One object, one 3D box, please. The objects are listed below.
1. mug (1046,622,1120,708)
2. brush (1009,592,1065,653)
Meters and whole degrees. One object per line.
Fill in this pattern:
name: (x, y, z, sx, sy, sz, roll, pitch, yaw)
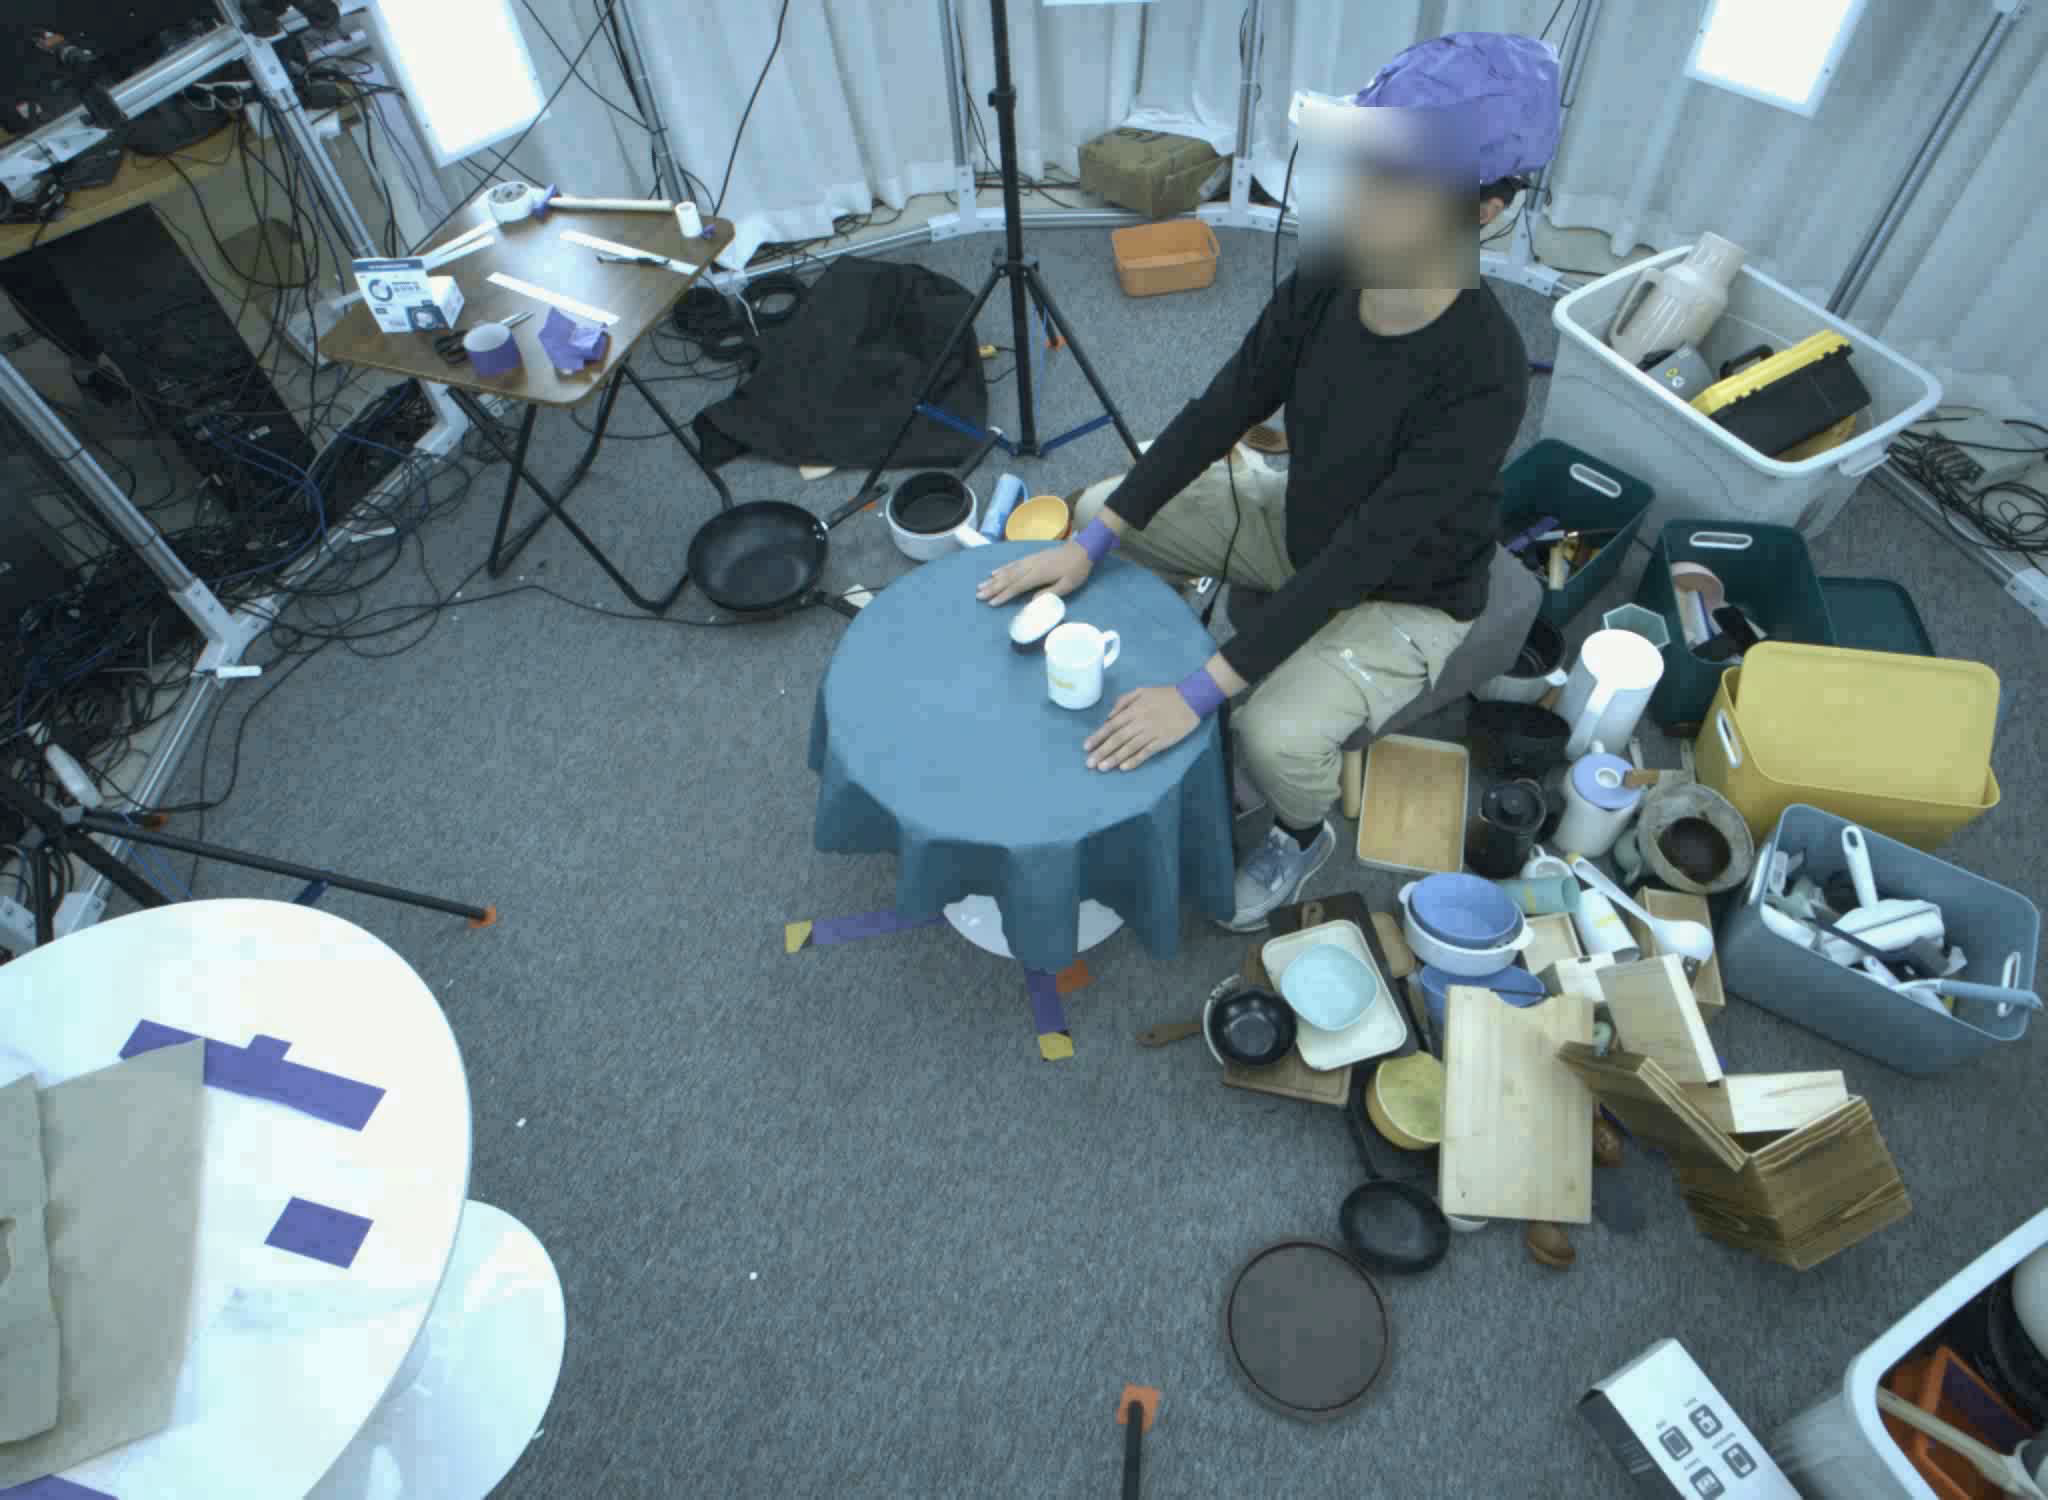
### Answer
mug: (0.089, -0.130, 1.815, 0.119, 0.103, 0.083, -29, 58, -18)
brush: (0.019, -0.203, 1.888, 0.100, 0.073, 0.049, -37, 62, -20)
